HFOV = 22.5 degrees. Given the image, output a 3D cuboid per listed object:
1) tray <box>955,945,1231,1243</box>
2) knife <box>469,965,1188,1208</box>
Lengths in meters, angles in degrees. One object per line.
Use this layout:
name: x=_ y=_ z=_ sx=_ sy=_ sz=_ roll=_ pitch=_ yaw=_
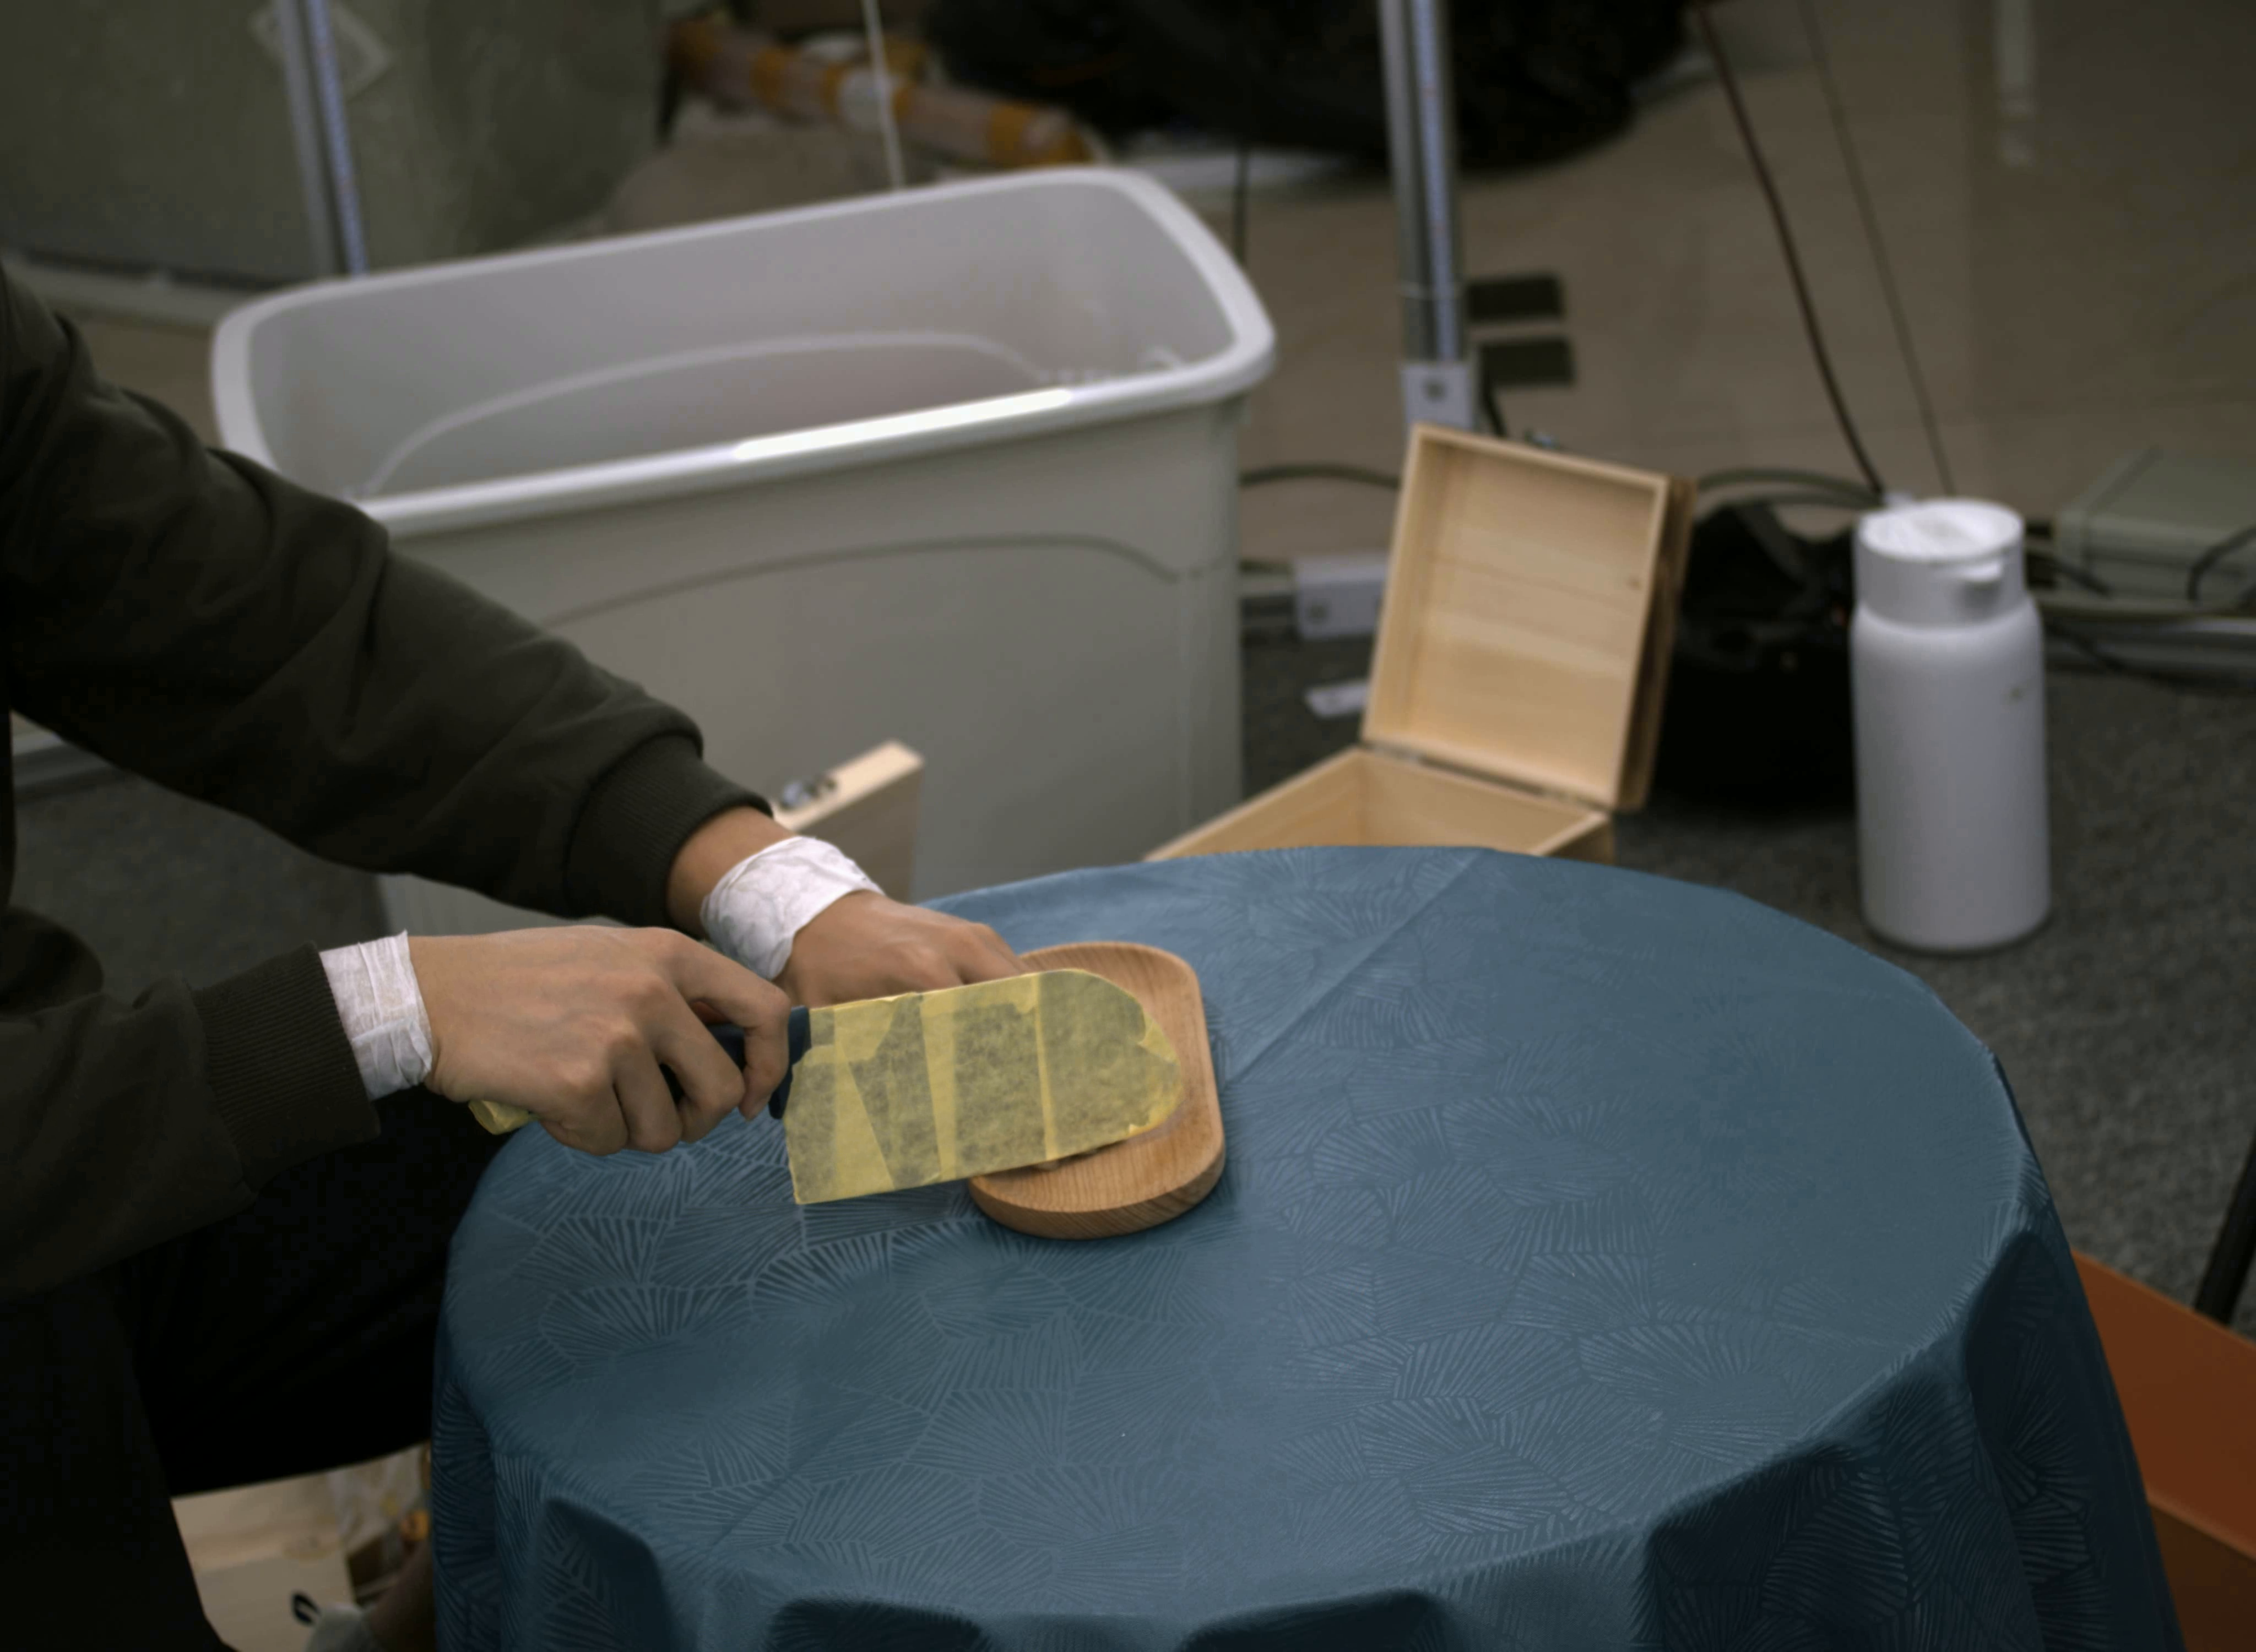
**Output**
tray: x=-0.015 y=0.103 z=2.215 sx=0.101 sy=0.020 sz=0.227 roll=-8 pitch=26 yaw=0
knife: x=-0.107 y=0.101 z=2.117 sx=0.289 sy=0.081 sz=0.027 roll=-5 pitch=5 yaw=-24
